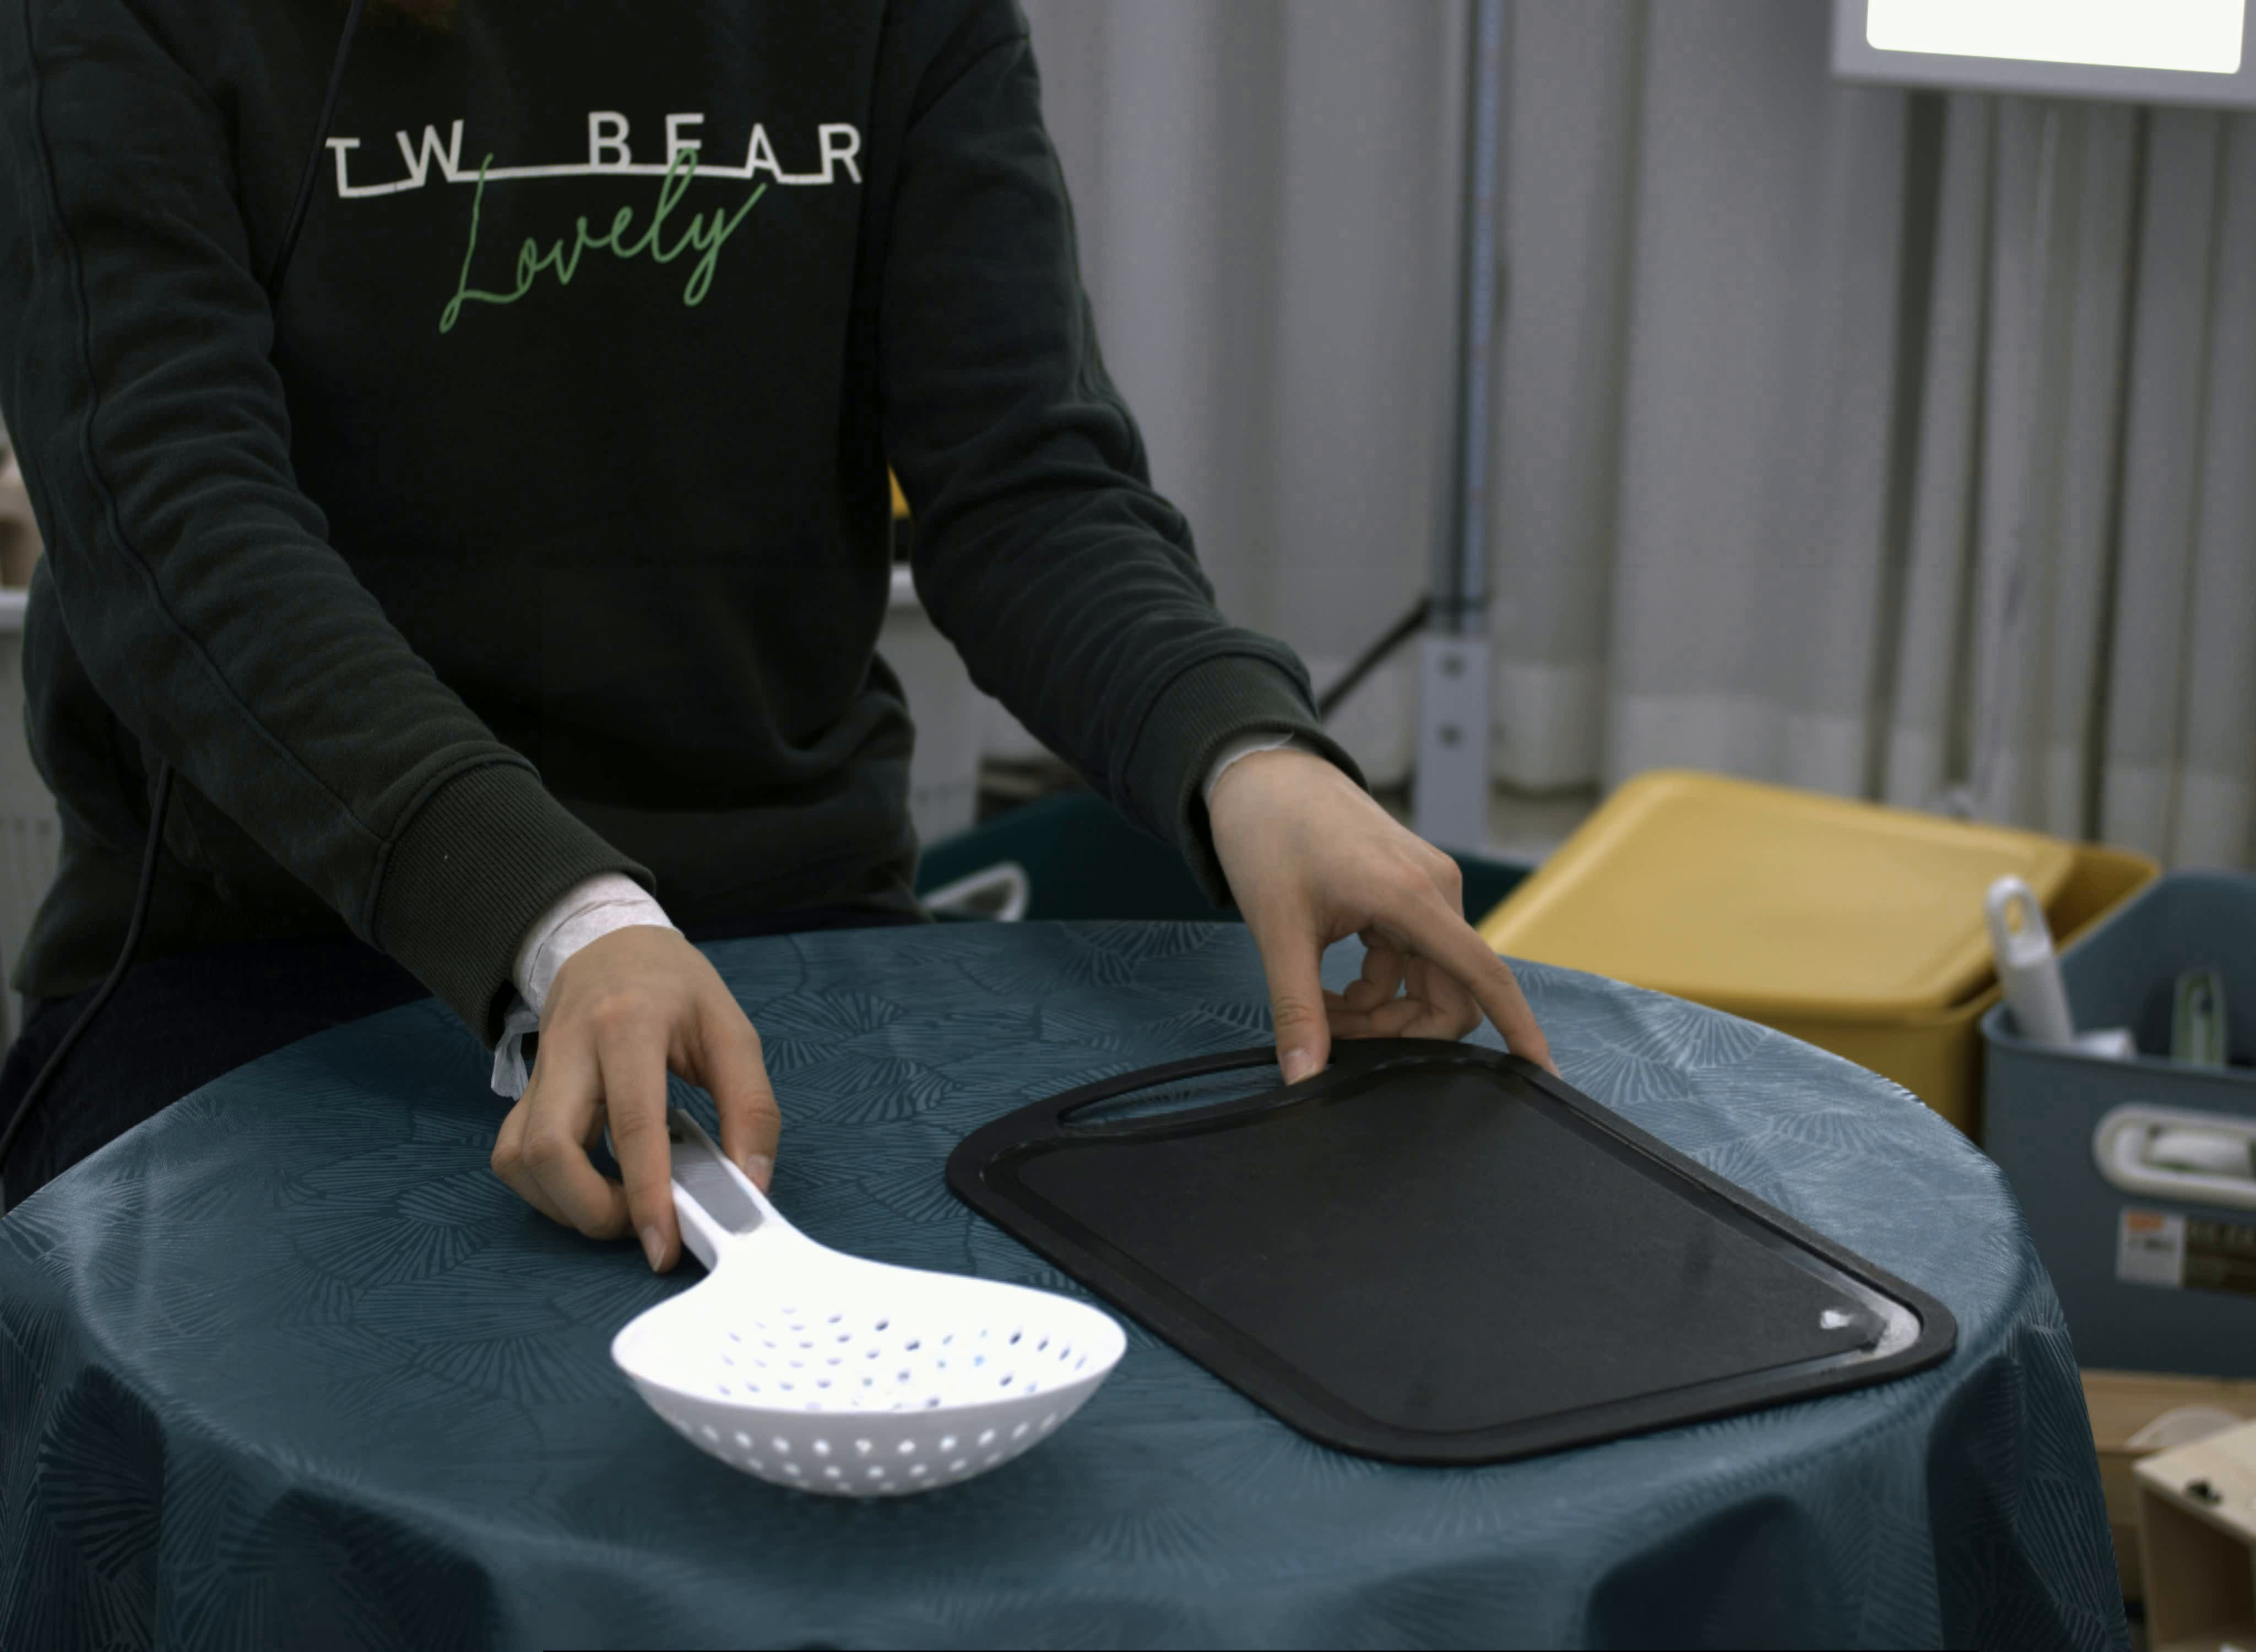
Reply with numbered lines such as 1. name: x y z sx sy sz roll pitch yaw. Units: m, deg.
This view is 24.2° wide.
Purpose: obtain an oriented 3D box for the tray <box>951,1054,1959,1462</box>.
1. tray: 0.086 0.121 1.580 0.212 0.010 0.321 -8 19 -27

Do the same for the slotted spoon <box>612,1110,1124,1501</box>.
1. slotted spoon: -0.101 0.126 1.492 0.136 0.046 0.346 -2 15 -17
